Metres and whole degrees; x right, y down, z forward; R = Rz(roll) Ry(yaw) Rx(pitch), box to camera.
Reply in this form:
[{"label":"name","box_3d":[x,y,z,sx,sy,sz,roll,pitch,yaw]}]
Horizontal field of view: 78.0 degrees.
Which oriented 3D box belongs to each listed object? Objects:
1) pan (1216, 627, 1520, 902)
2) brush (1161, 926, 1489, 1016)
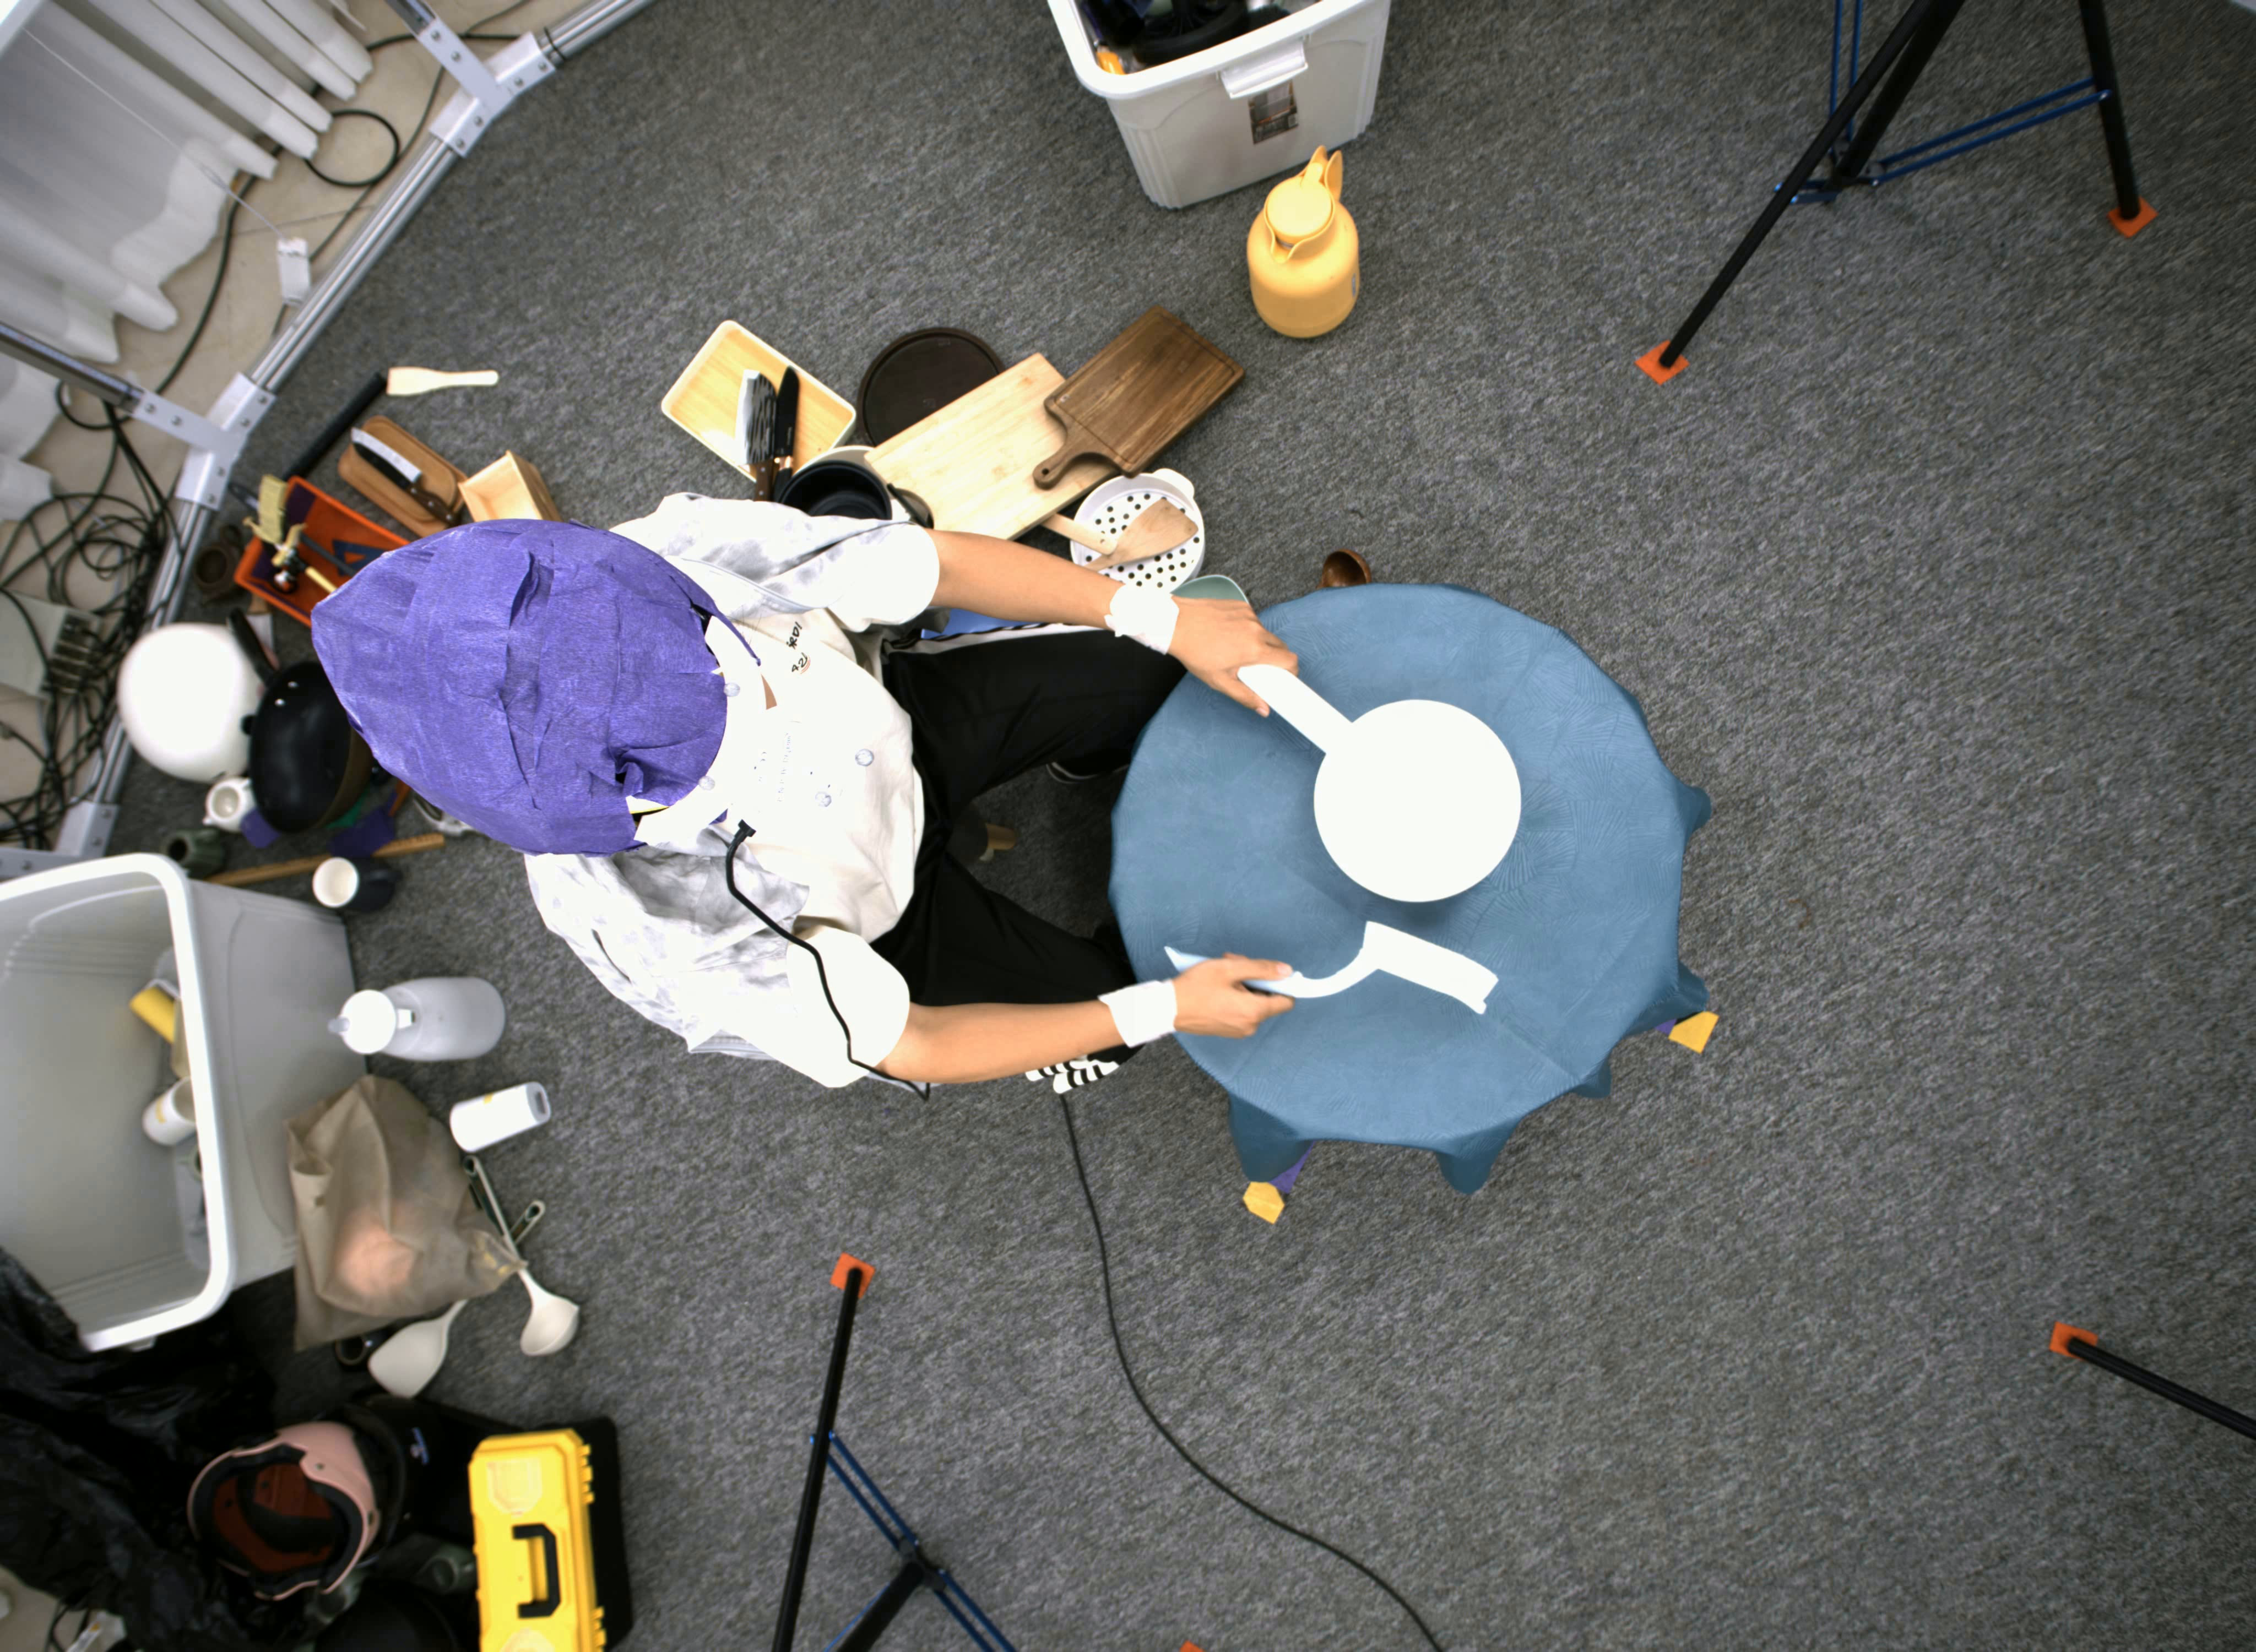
[{"label":"pan","box_3d":[0.237,-0.072,1.422,0.353,0.102,0.202,41,94,12]},{"label":"brush","box_3d":[0.191,0.121,1.363,0.326,0.085,0.082,8,51,17]}]
